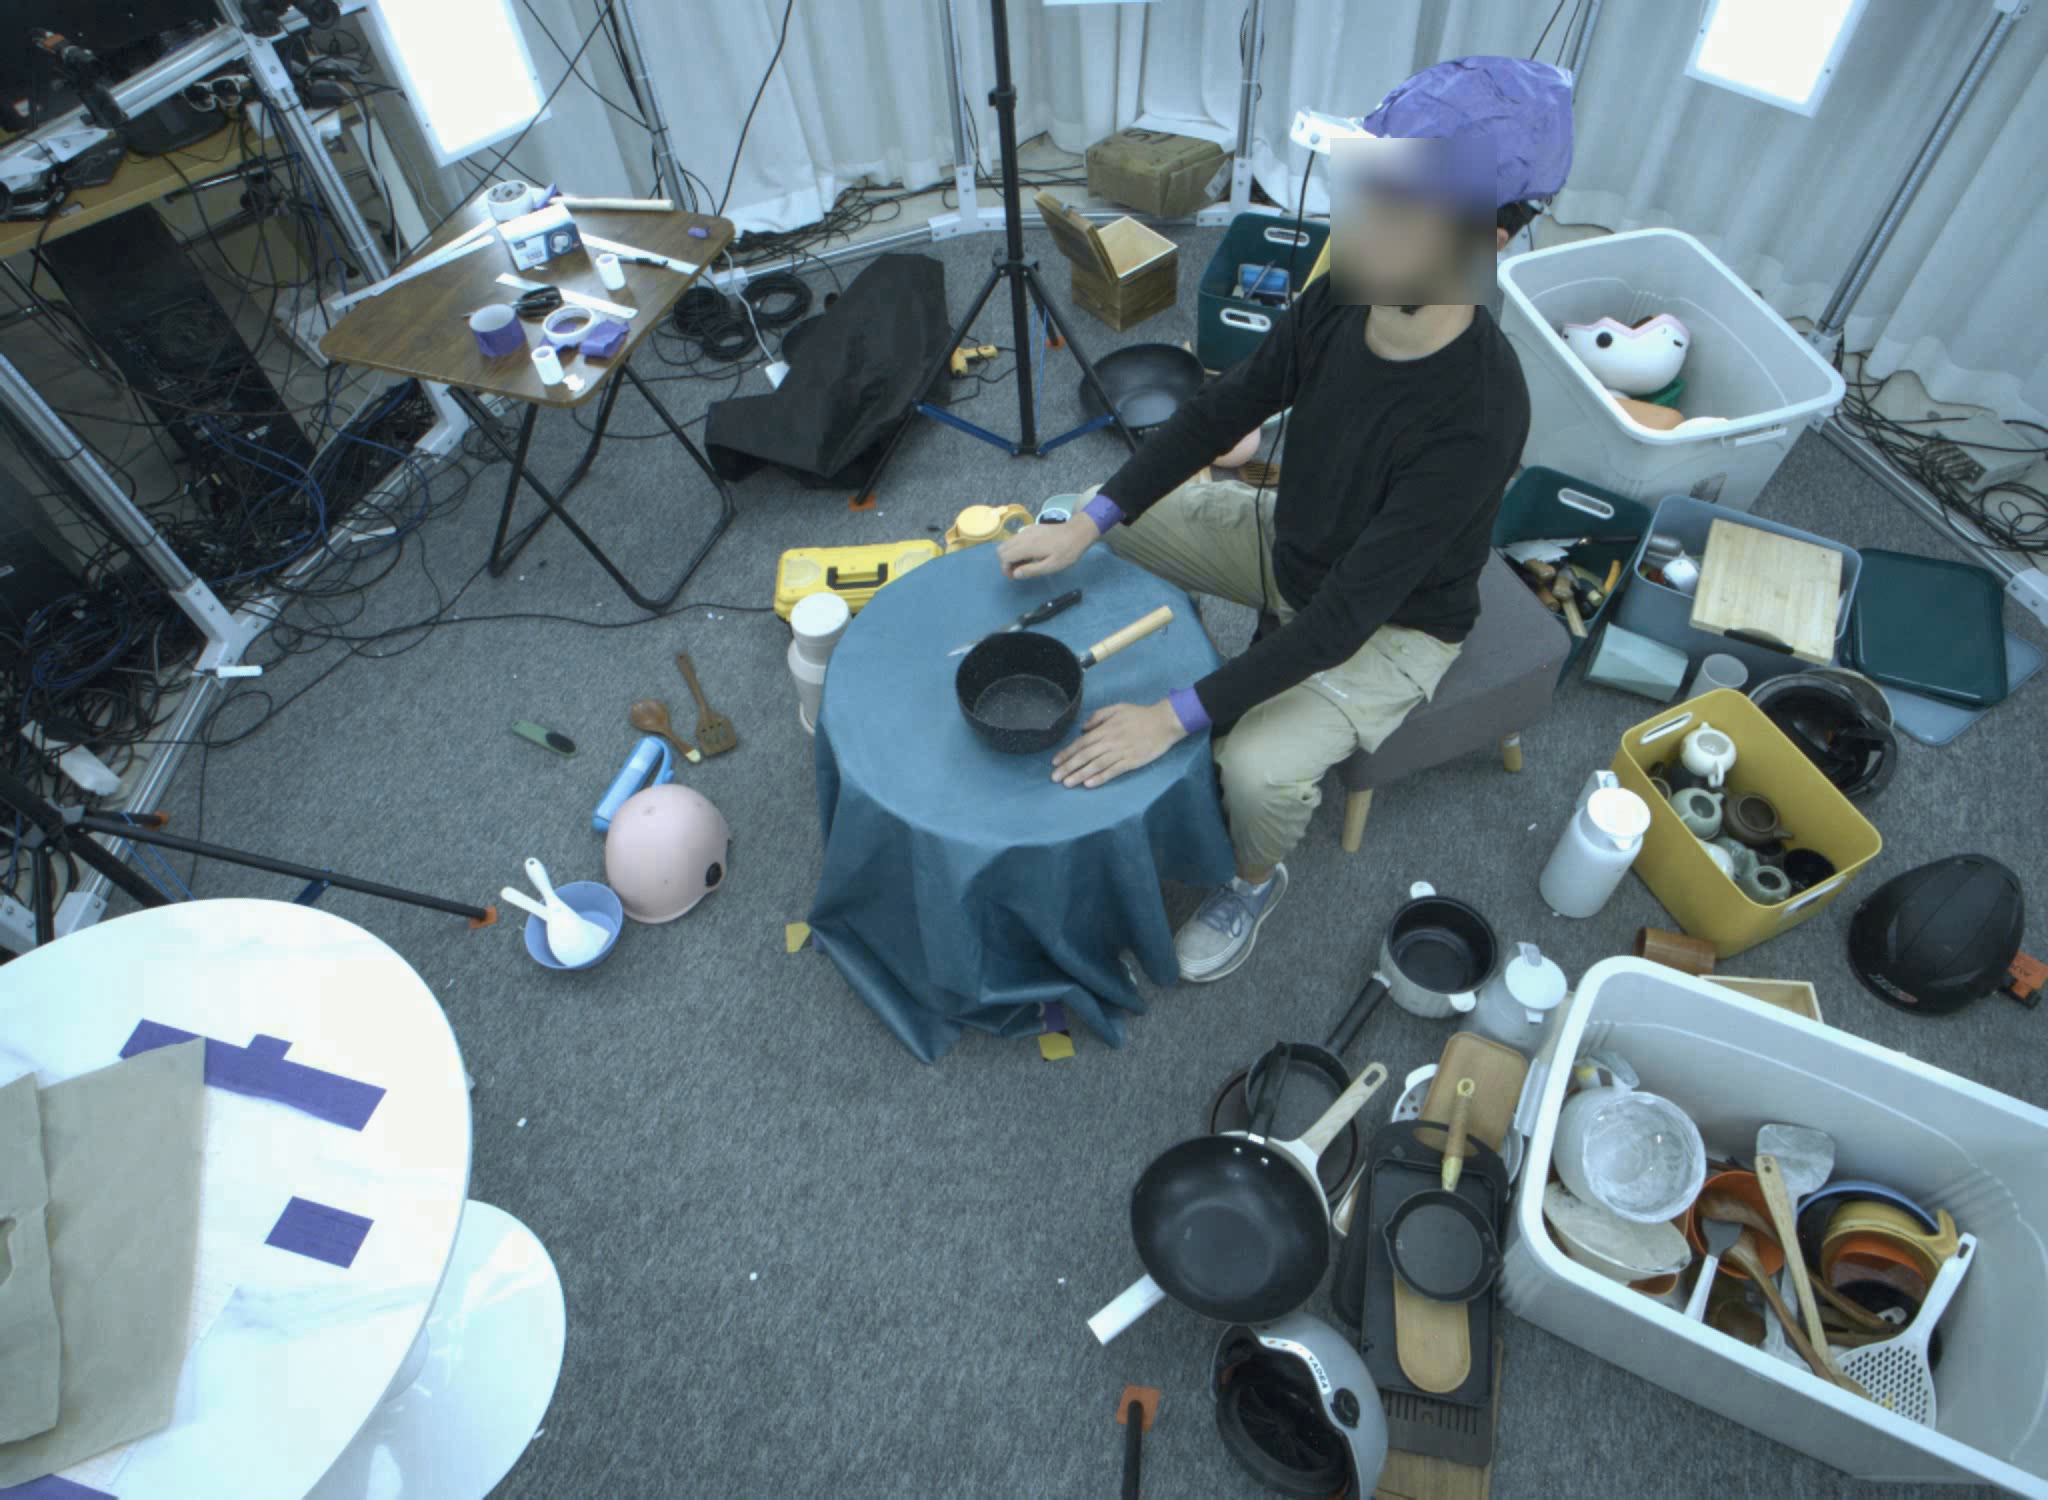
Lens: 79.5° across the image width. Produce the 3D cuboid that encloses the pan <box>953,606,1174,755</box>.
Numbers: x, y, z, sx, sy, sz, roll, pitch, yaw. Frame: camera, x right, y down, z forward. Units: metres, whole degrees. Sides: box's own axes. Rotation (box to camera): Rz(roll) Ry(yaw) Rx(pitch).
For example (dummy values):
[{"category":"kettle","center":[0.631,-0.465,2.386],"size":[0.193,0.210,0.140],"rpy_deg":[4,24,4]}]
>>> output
[{"category":"pan","center":[0.064,-0.115,1.798],"size":[0.345,0.109,0.203],"rpy_deg":[-23,56,-13]}]

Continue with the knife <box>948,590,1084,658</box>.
[{"category":"knife","center":[-0.015,-0.196,1.917],"size":[0.240,0.016,0.024],"rpy_deg":[-26,60,-13]}]
